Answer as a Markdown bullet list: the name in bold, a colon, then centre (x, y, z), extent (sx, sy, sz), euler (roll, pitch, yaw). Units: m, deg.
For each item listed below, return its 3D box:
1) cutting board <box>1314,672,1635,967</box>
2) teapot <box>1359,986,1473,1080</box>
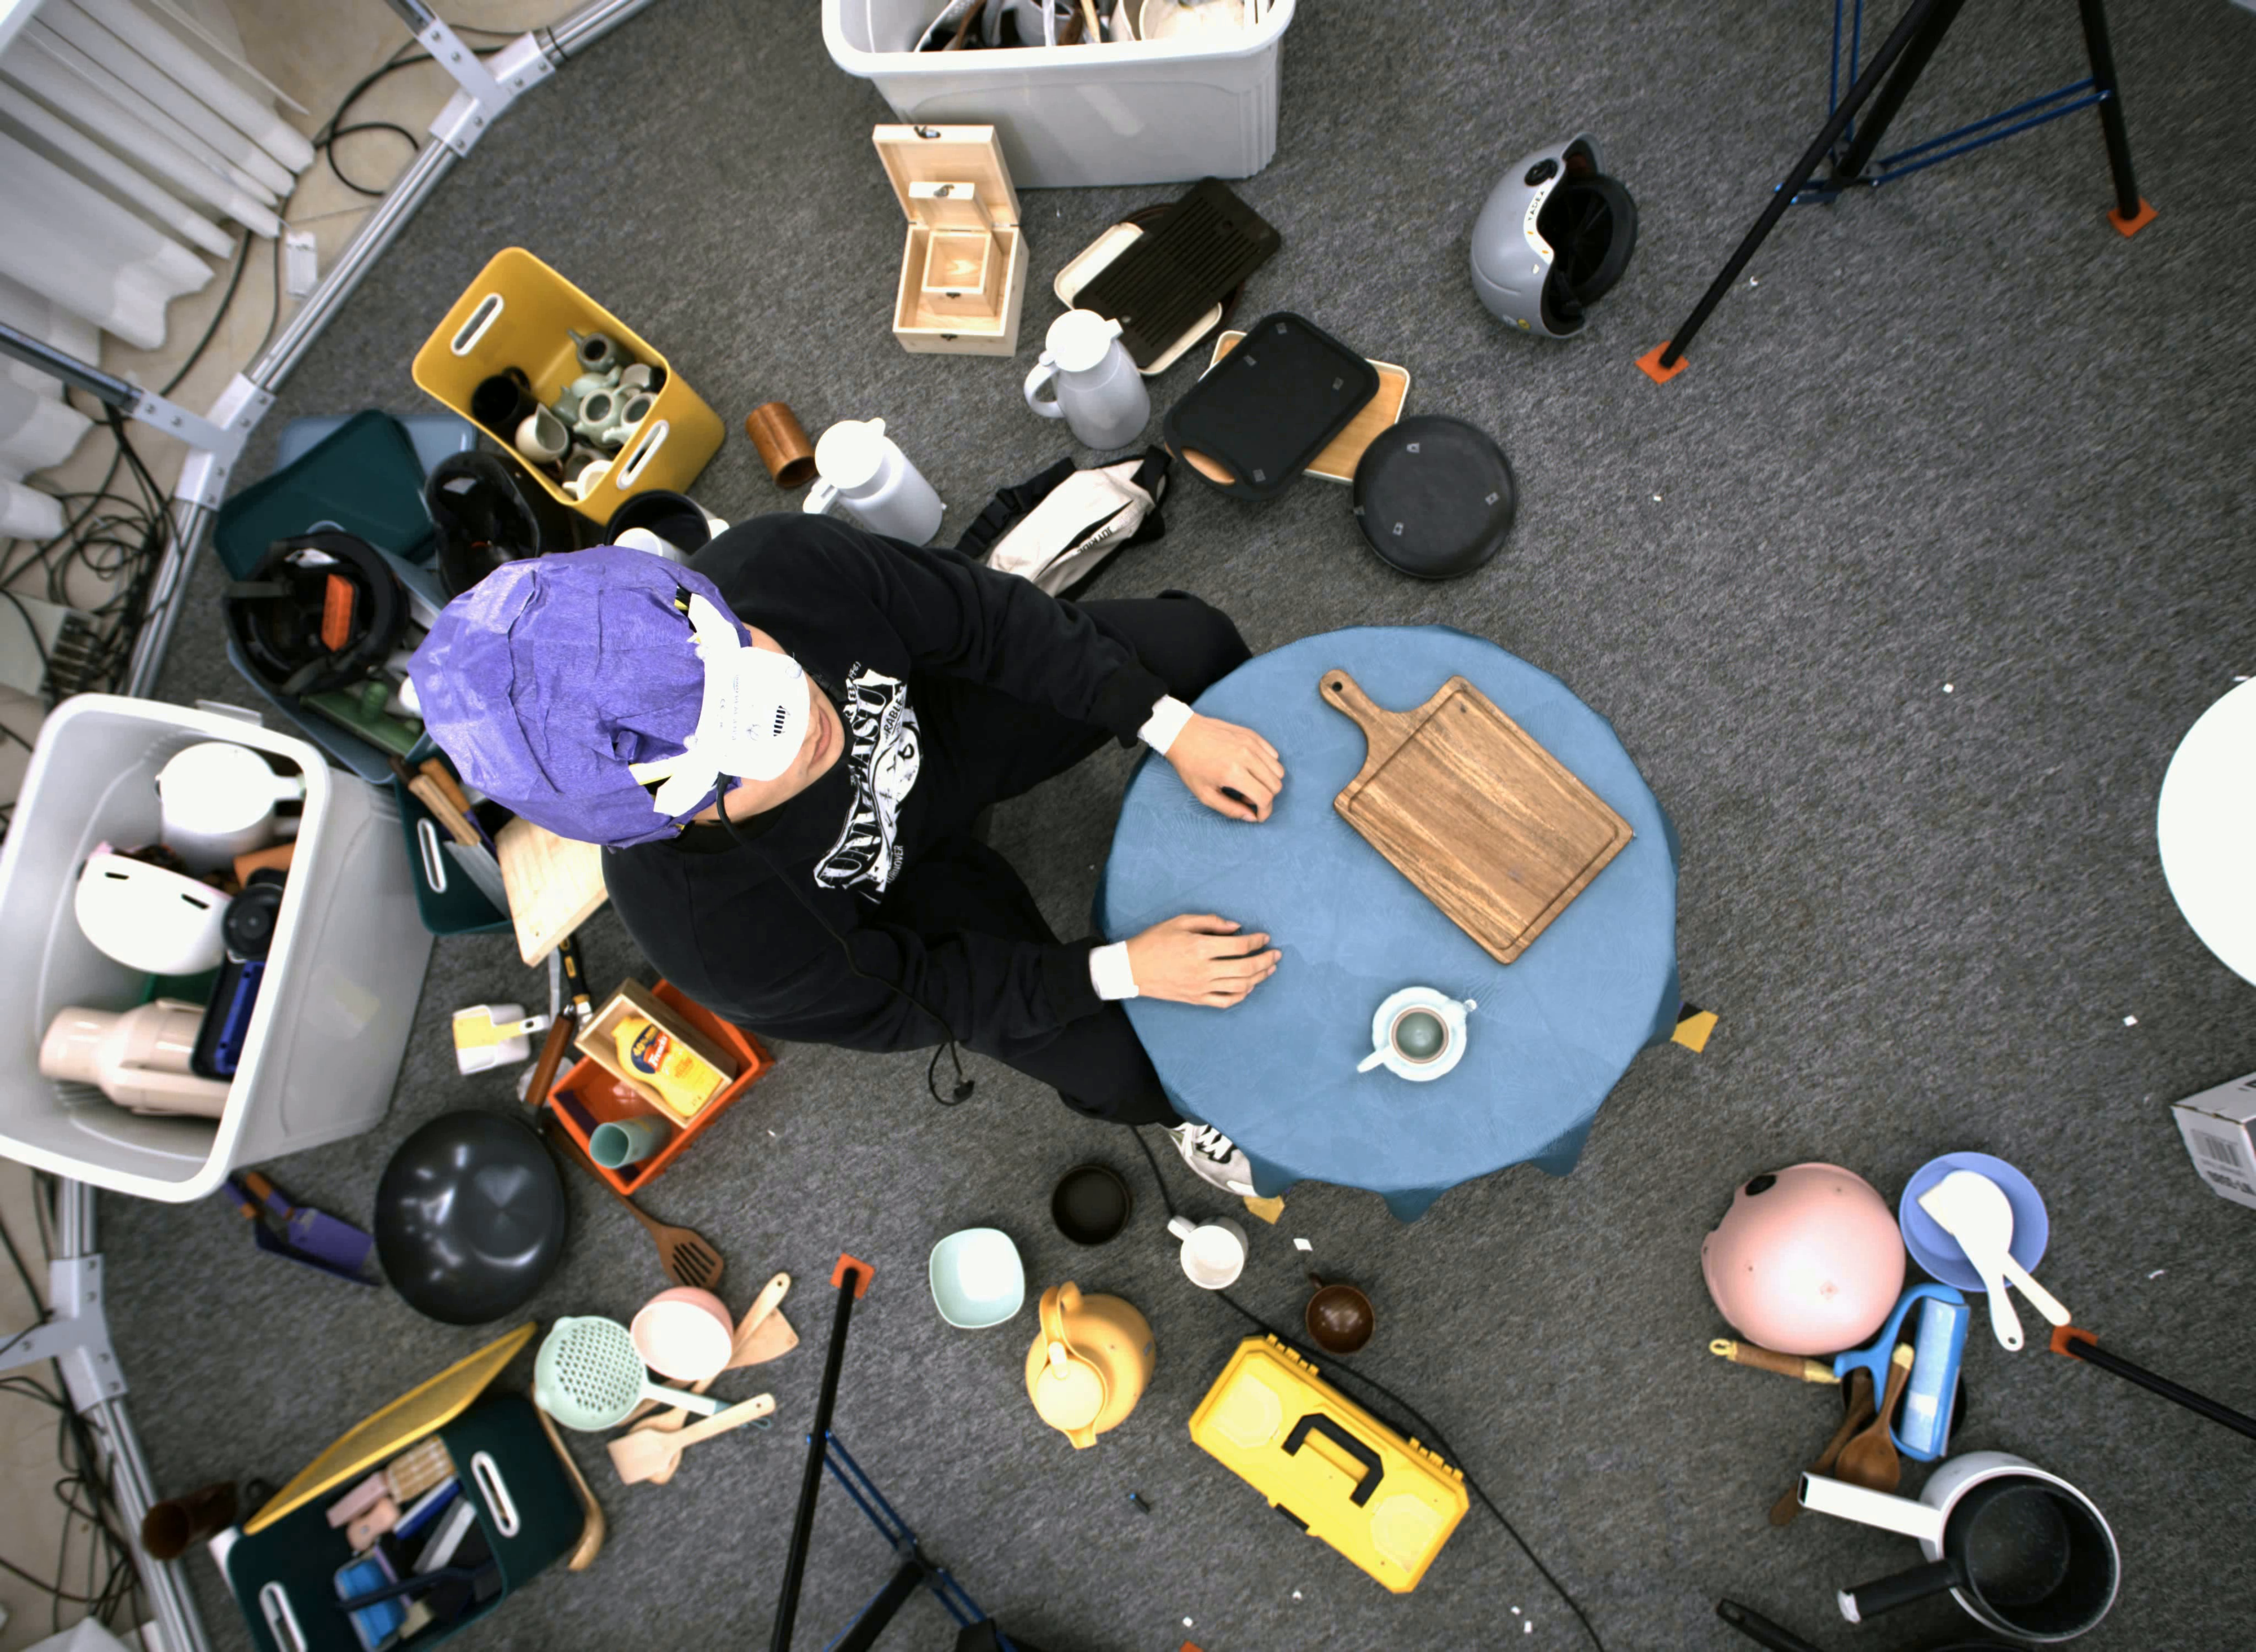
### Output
- **cutting board**: centre (0.333, -0.042, 1.444), extent (0.350, 0.023, 0.202), euler (43, 95, 10)
- **teapot**: centre (0.295, 0.214, 1.419), extent (0.138, 0.061, 0.095), euler (-34, 82, 7)
